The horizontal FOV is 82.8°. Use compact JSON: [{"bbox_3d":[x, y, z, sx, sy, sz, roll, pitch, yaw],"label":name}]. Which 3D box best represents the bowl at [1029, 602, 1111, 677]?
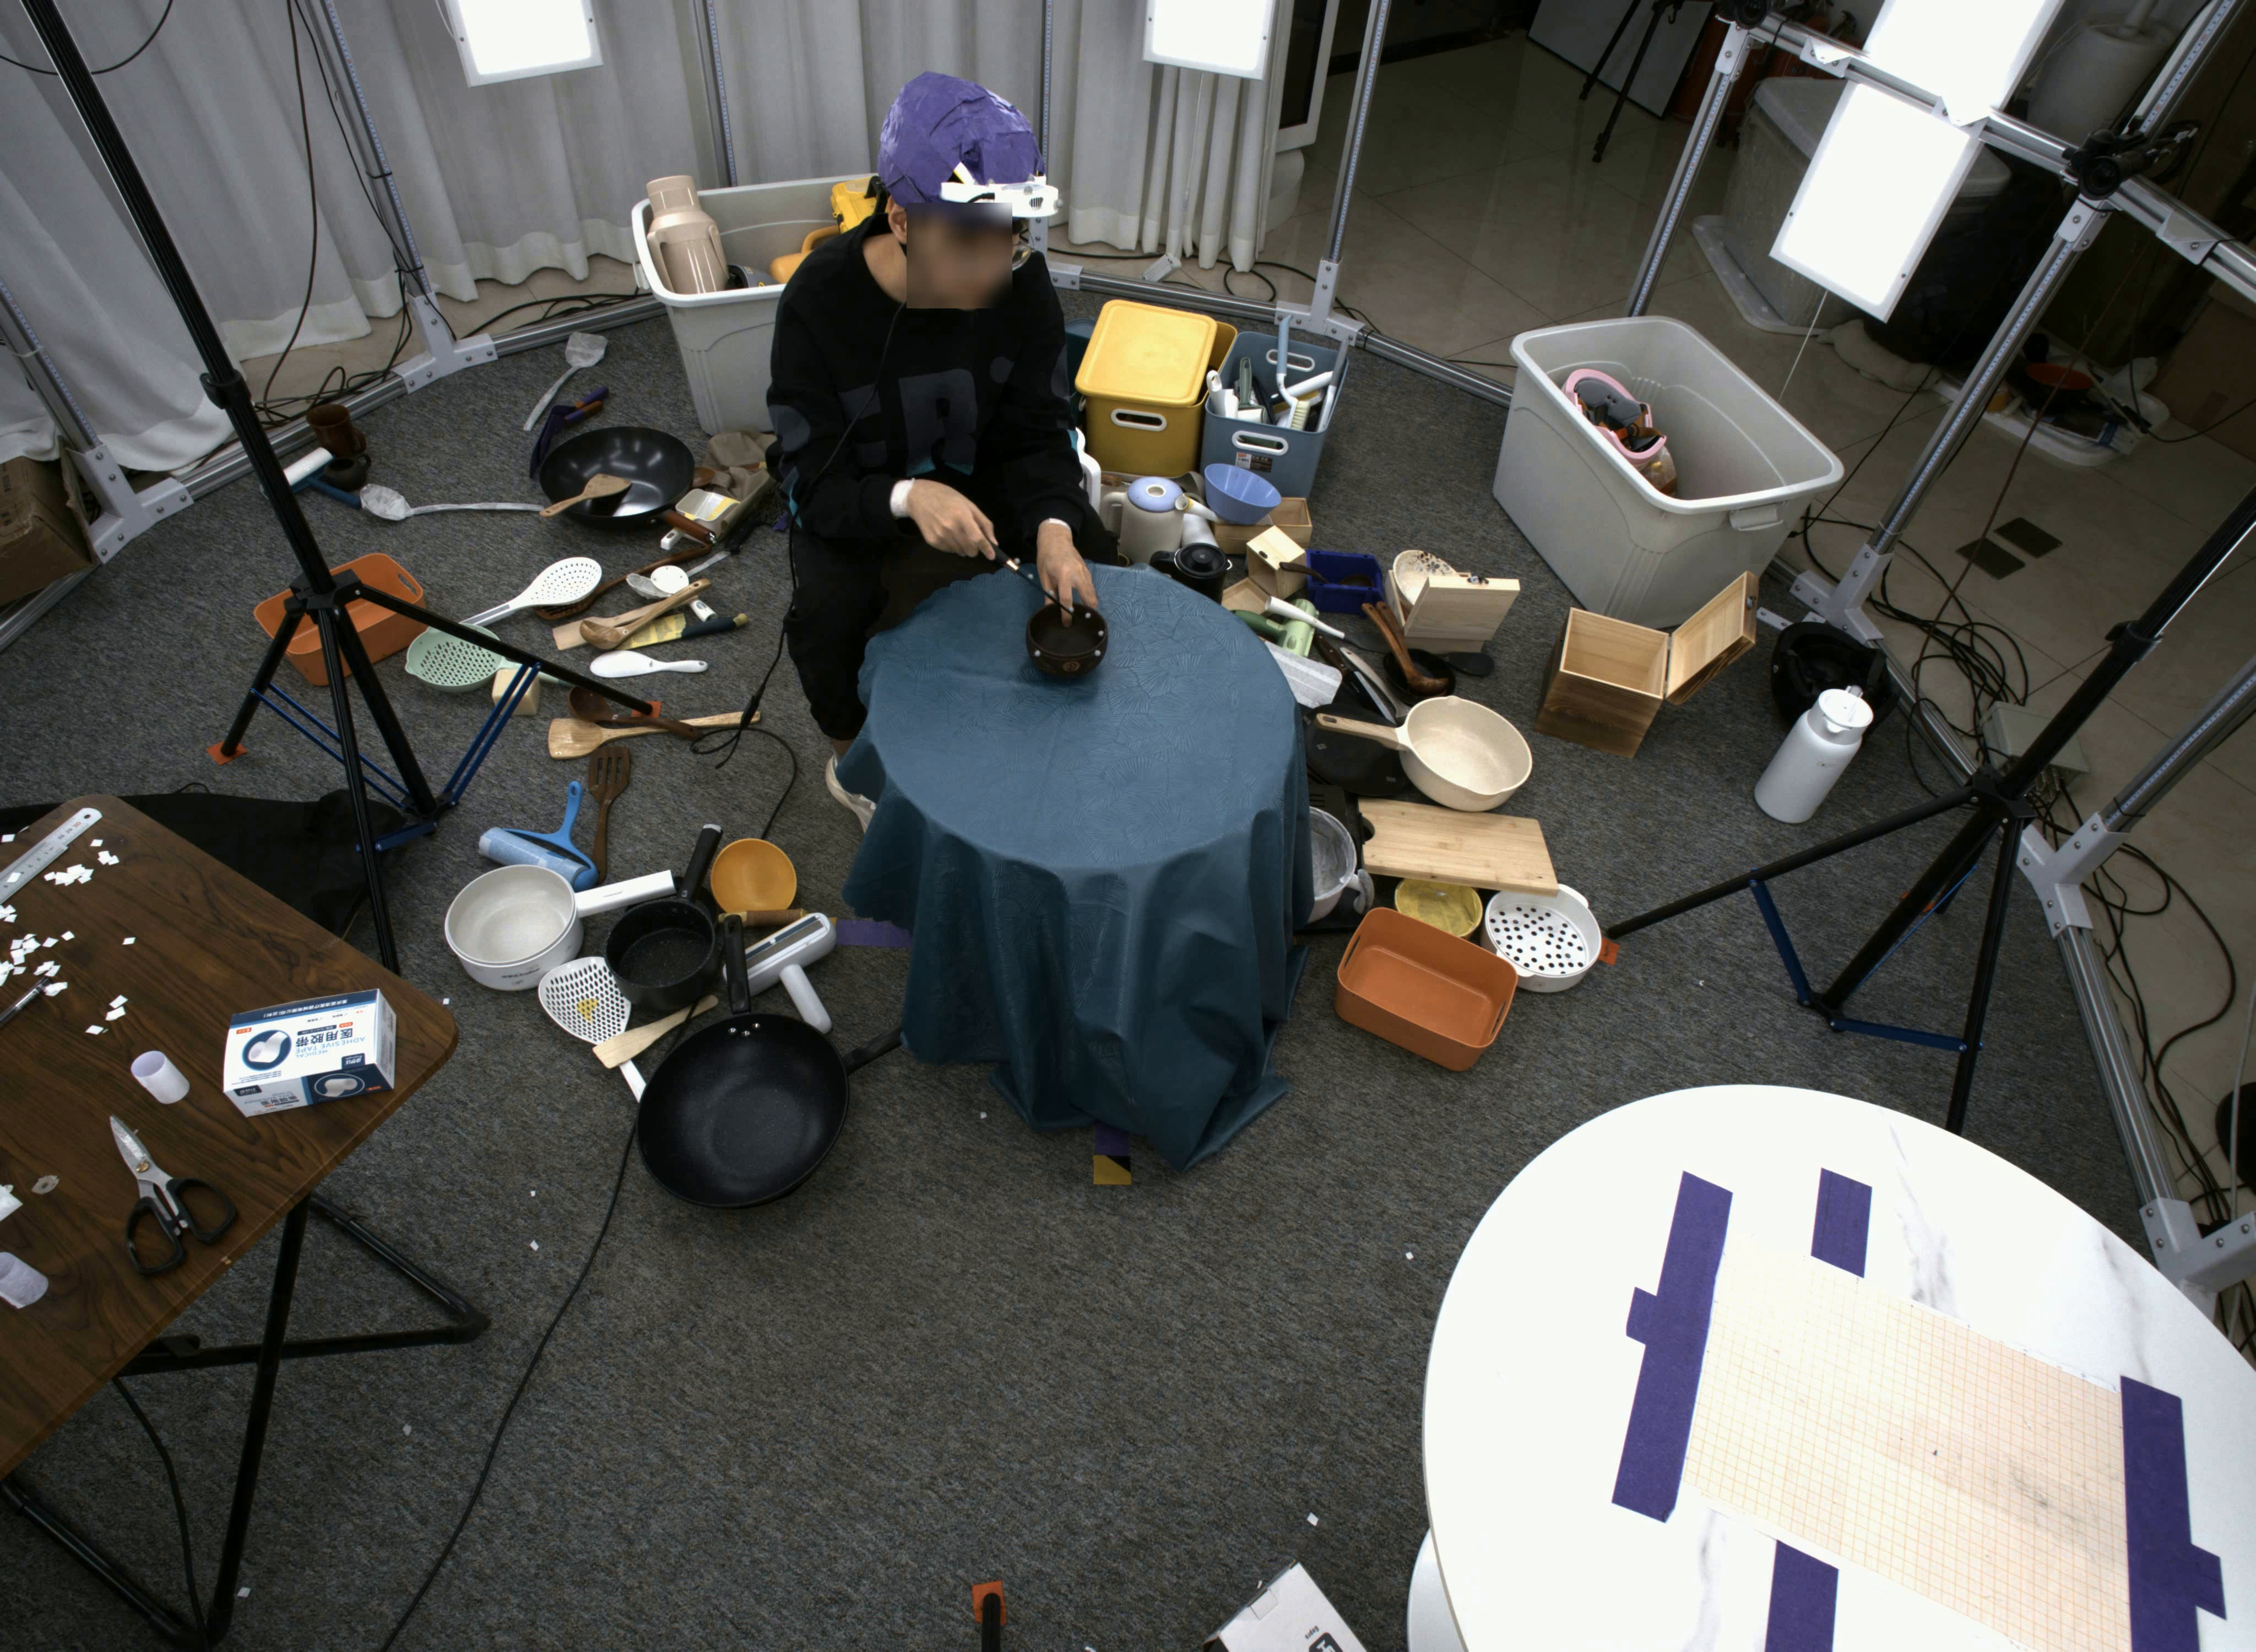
[{"bbox_3d":[-0.084,-0.258,1.839,0.118,0.068,0.121,2,47,-3],"label":"bowl"}]

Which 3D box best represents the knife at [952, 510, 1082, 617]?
[{"bbox_3d":[-0.152,-0.361,1.779,0.225,0.017,0.026,40,17,1],"label":"knife"}]
